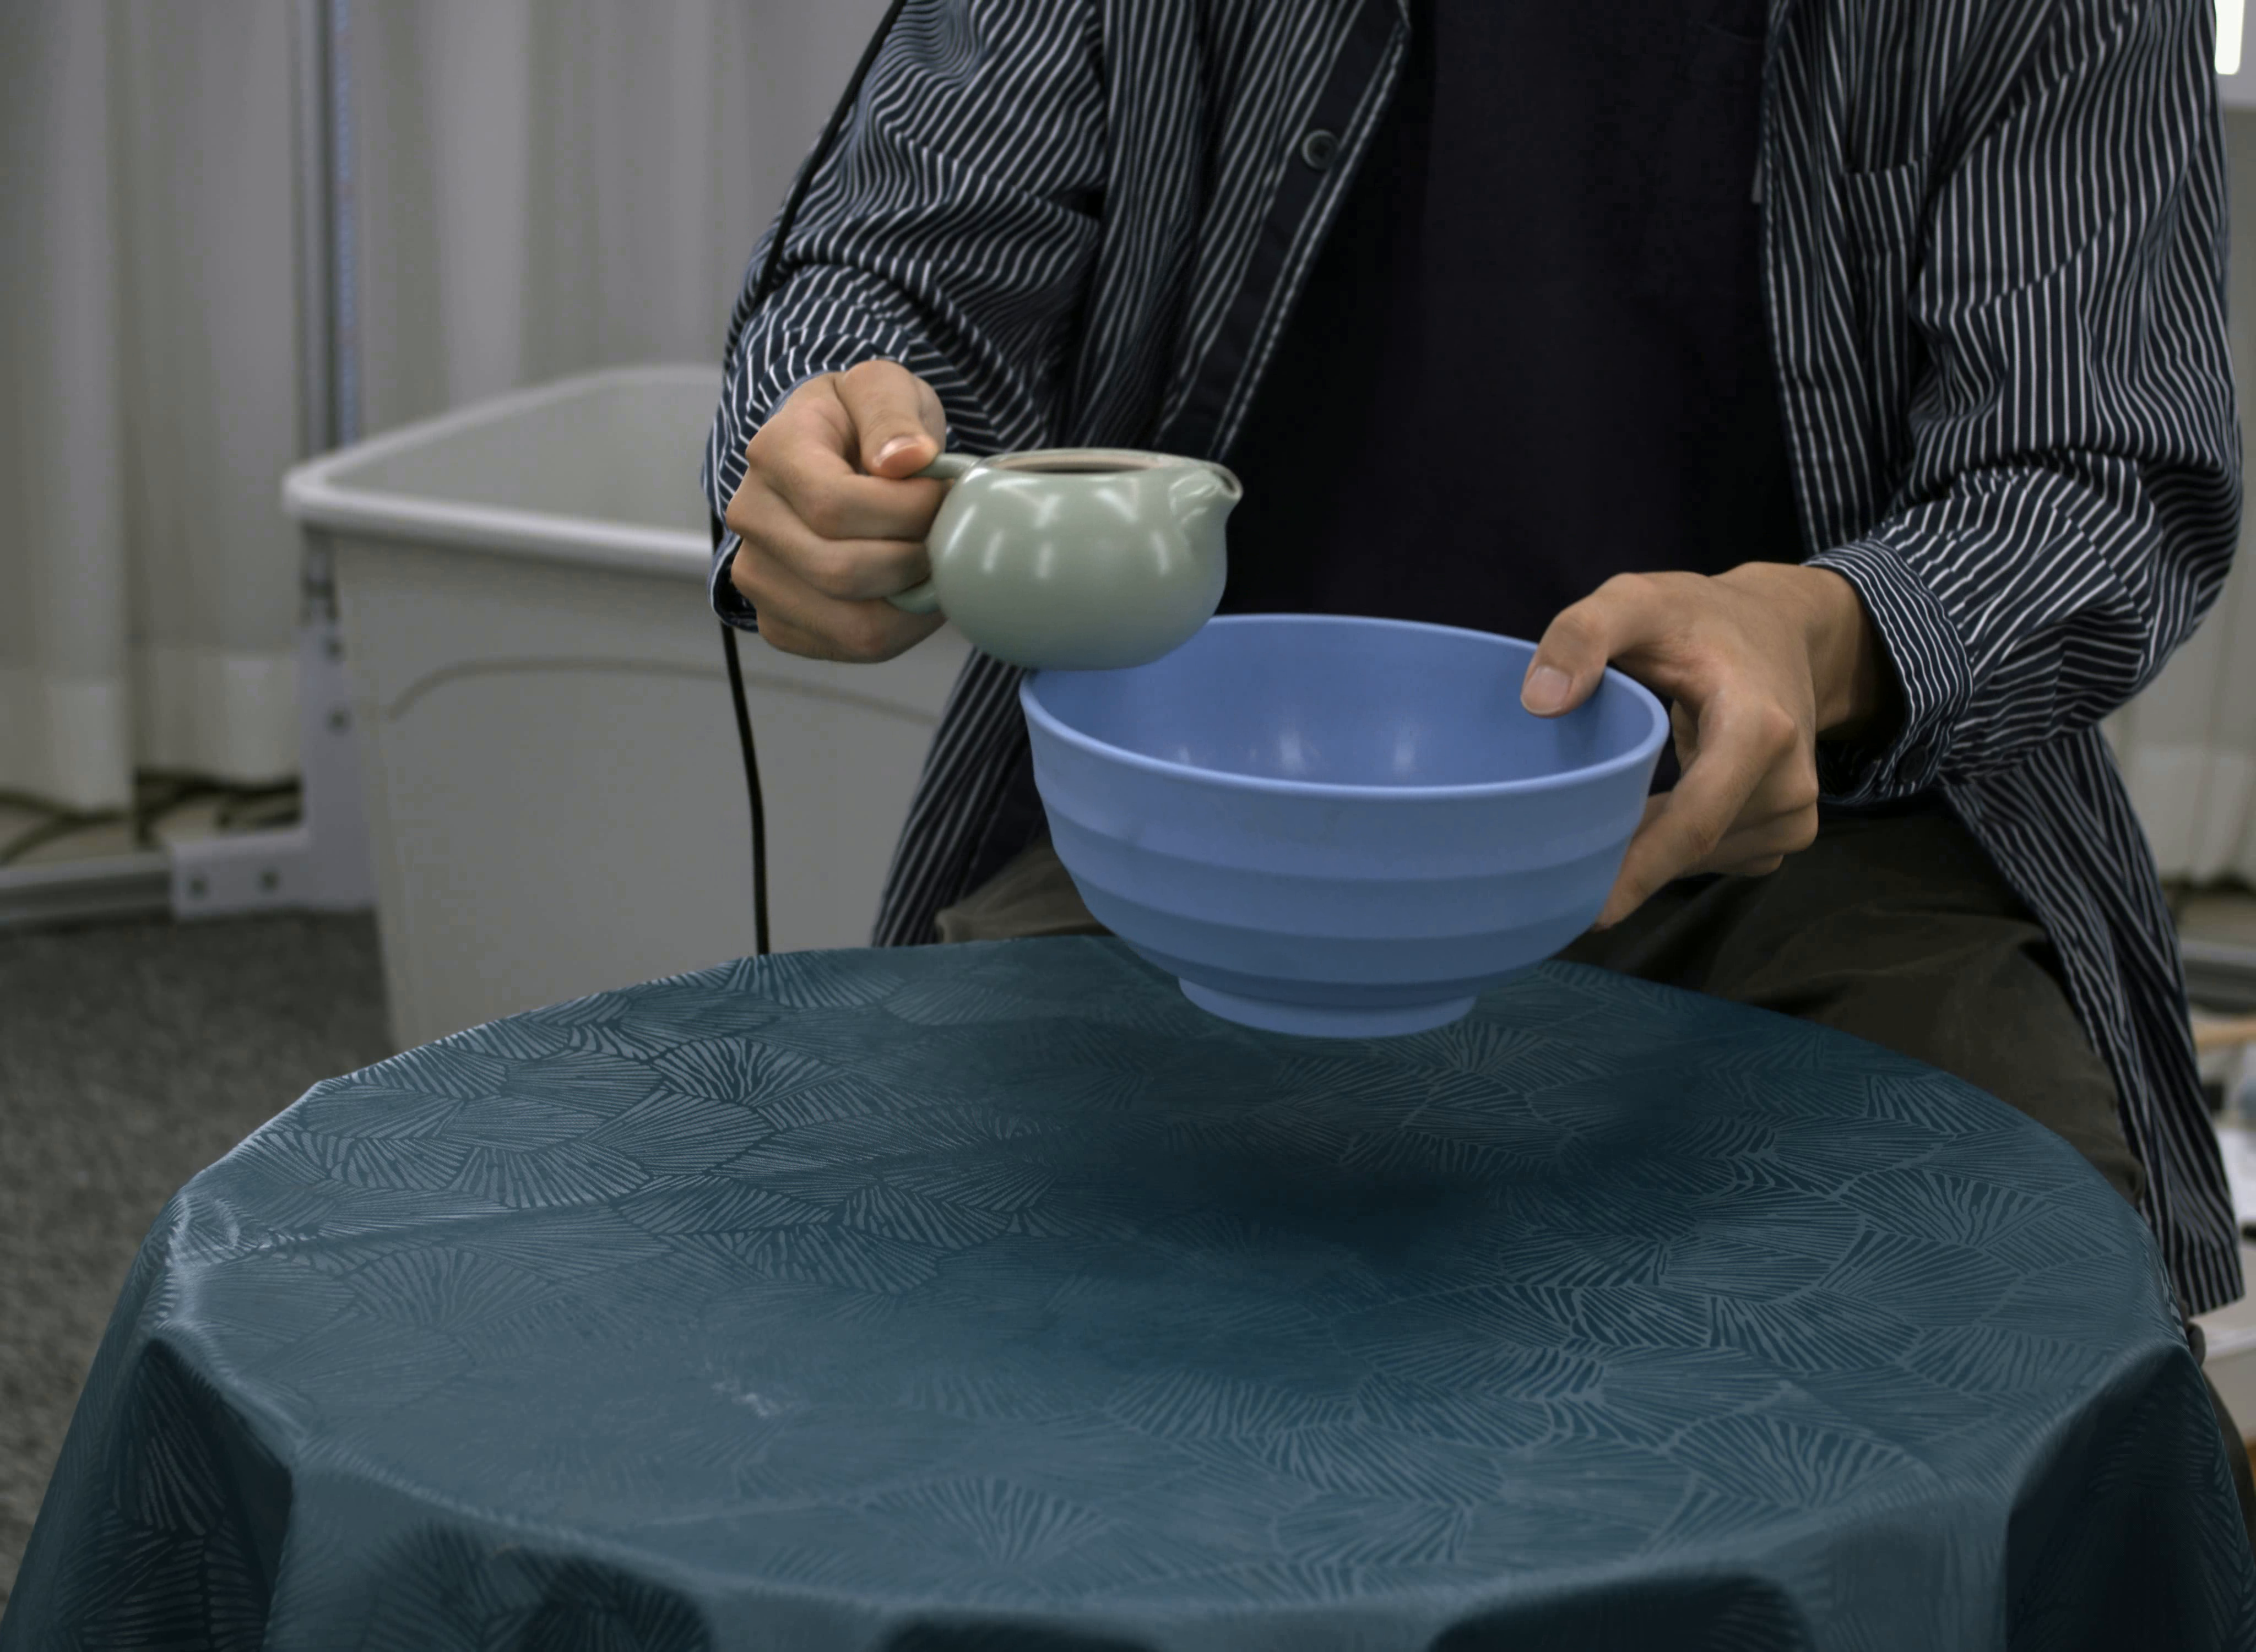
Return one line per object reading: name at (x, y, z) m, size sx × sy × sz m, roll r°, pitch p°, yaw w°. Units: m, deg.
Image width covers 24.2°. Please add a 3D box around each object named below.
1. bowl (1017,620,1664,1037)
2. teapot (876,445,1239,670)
bowl at (0.062, 0.005, 1.606) m, size 0.196 × 0.096 × 0.195 m, roll 3°, pitch 17°, yaw 0°
teapot at (-0.023, -0.083, 1.610) m, size 0.127 × 0.061 × 0.092 m, roll 6°, pitch 15°, yaw 30°
